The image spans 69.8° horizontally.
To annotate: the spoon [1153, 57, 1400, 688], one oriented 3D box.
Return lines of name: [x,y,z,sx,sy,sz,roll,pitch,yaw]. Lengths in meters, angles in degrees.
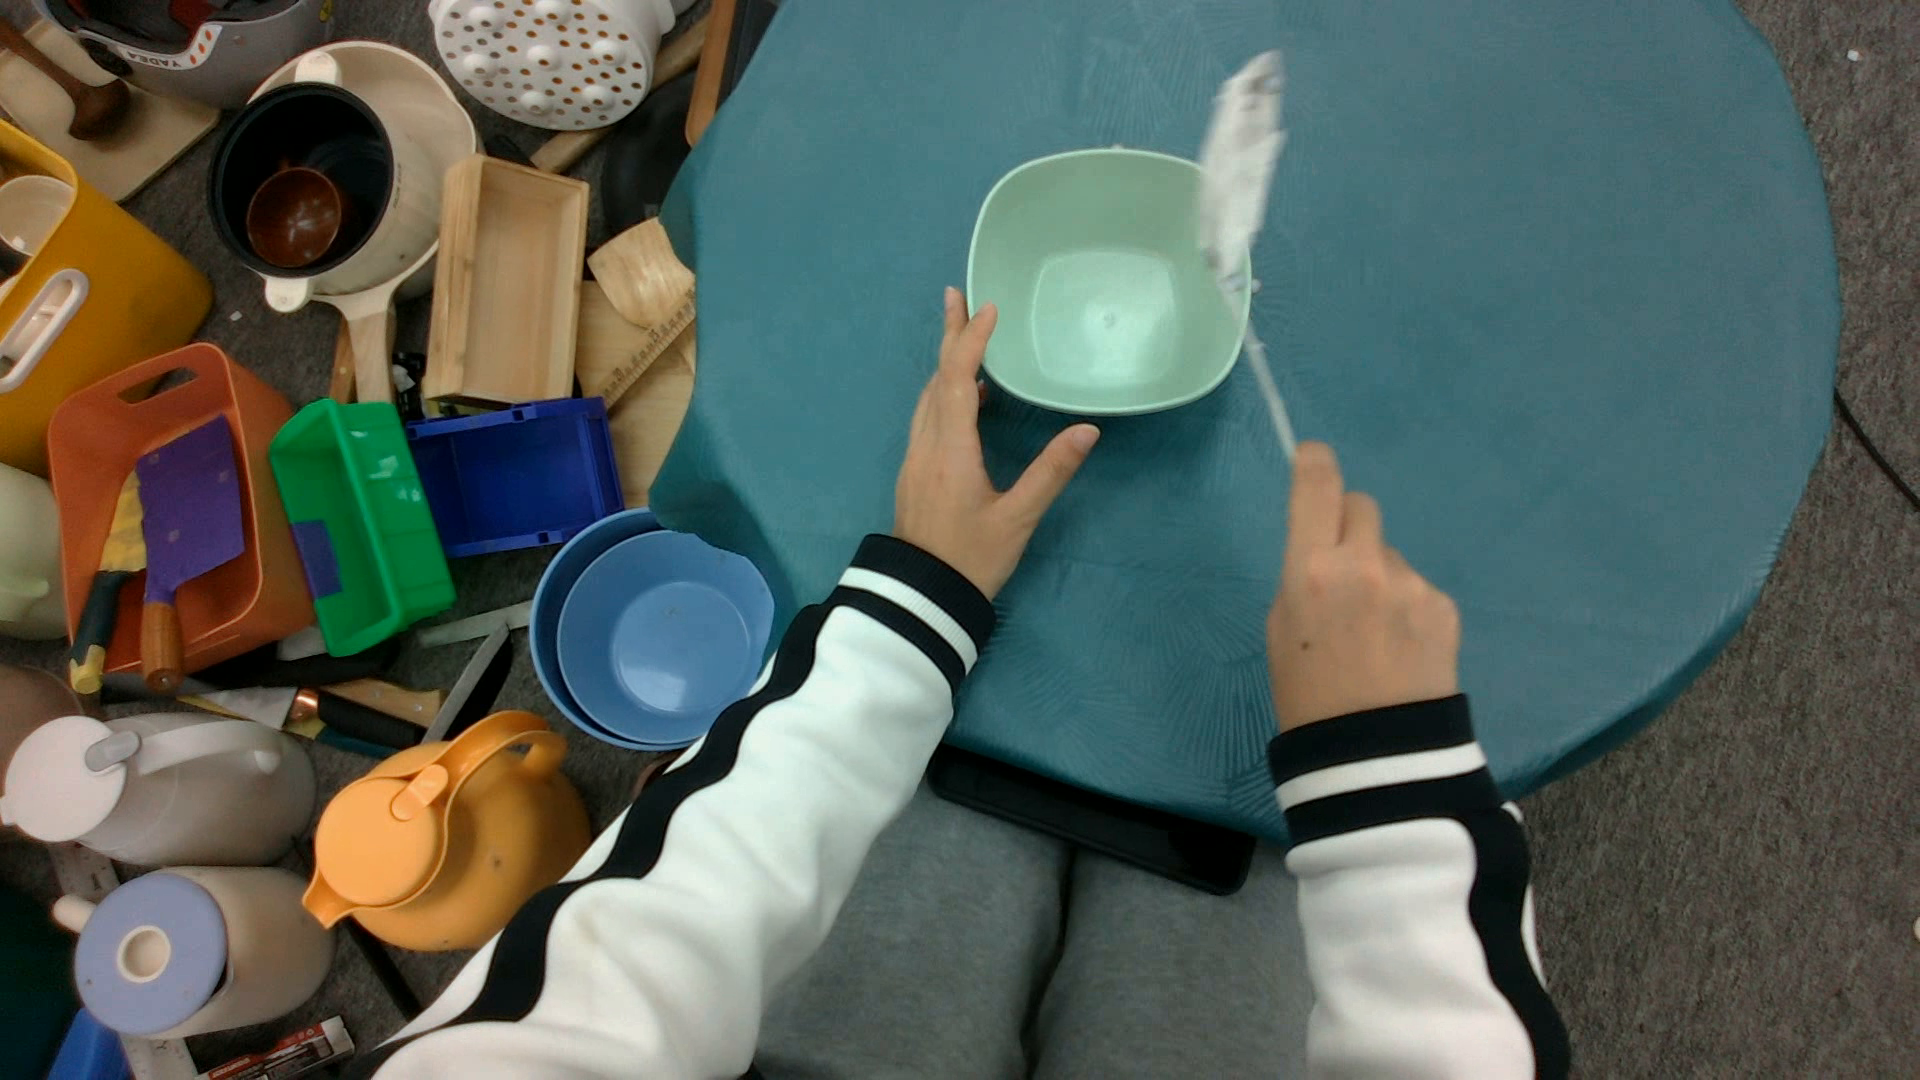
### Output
spoon: [0.142,-0.076,0.576,0.059,0.101,0.278,-28,72,17]

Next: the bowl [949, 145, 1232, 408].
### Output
bowl: [0.065,-0.125,0.702,0.151,0.058,0.152,0,76,2]
